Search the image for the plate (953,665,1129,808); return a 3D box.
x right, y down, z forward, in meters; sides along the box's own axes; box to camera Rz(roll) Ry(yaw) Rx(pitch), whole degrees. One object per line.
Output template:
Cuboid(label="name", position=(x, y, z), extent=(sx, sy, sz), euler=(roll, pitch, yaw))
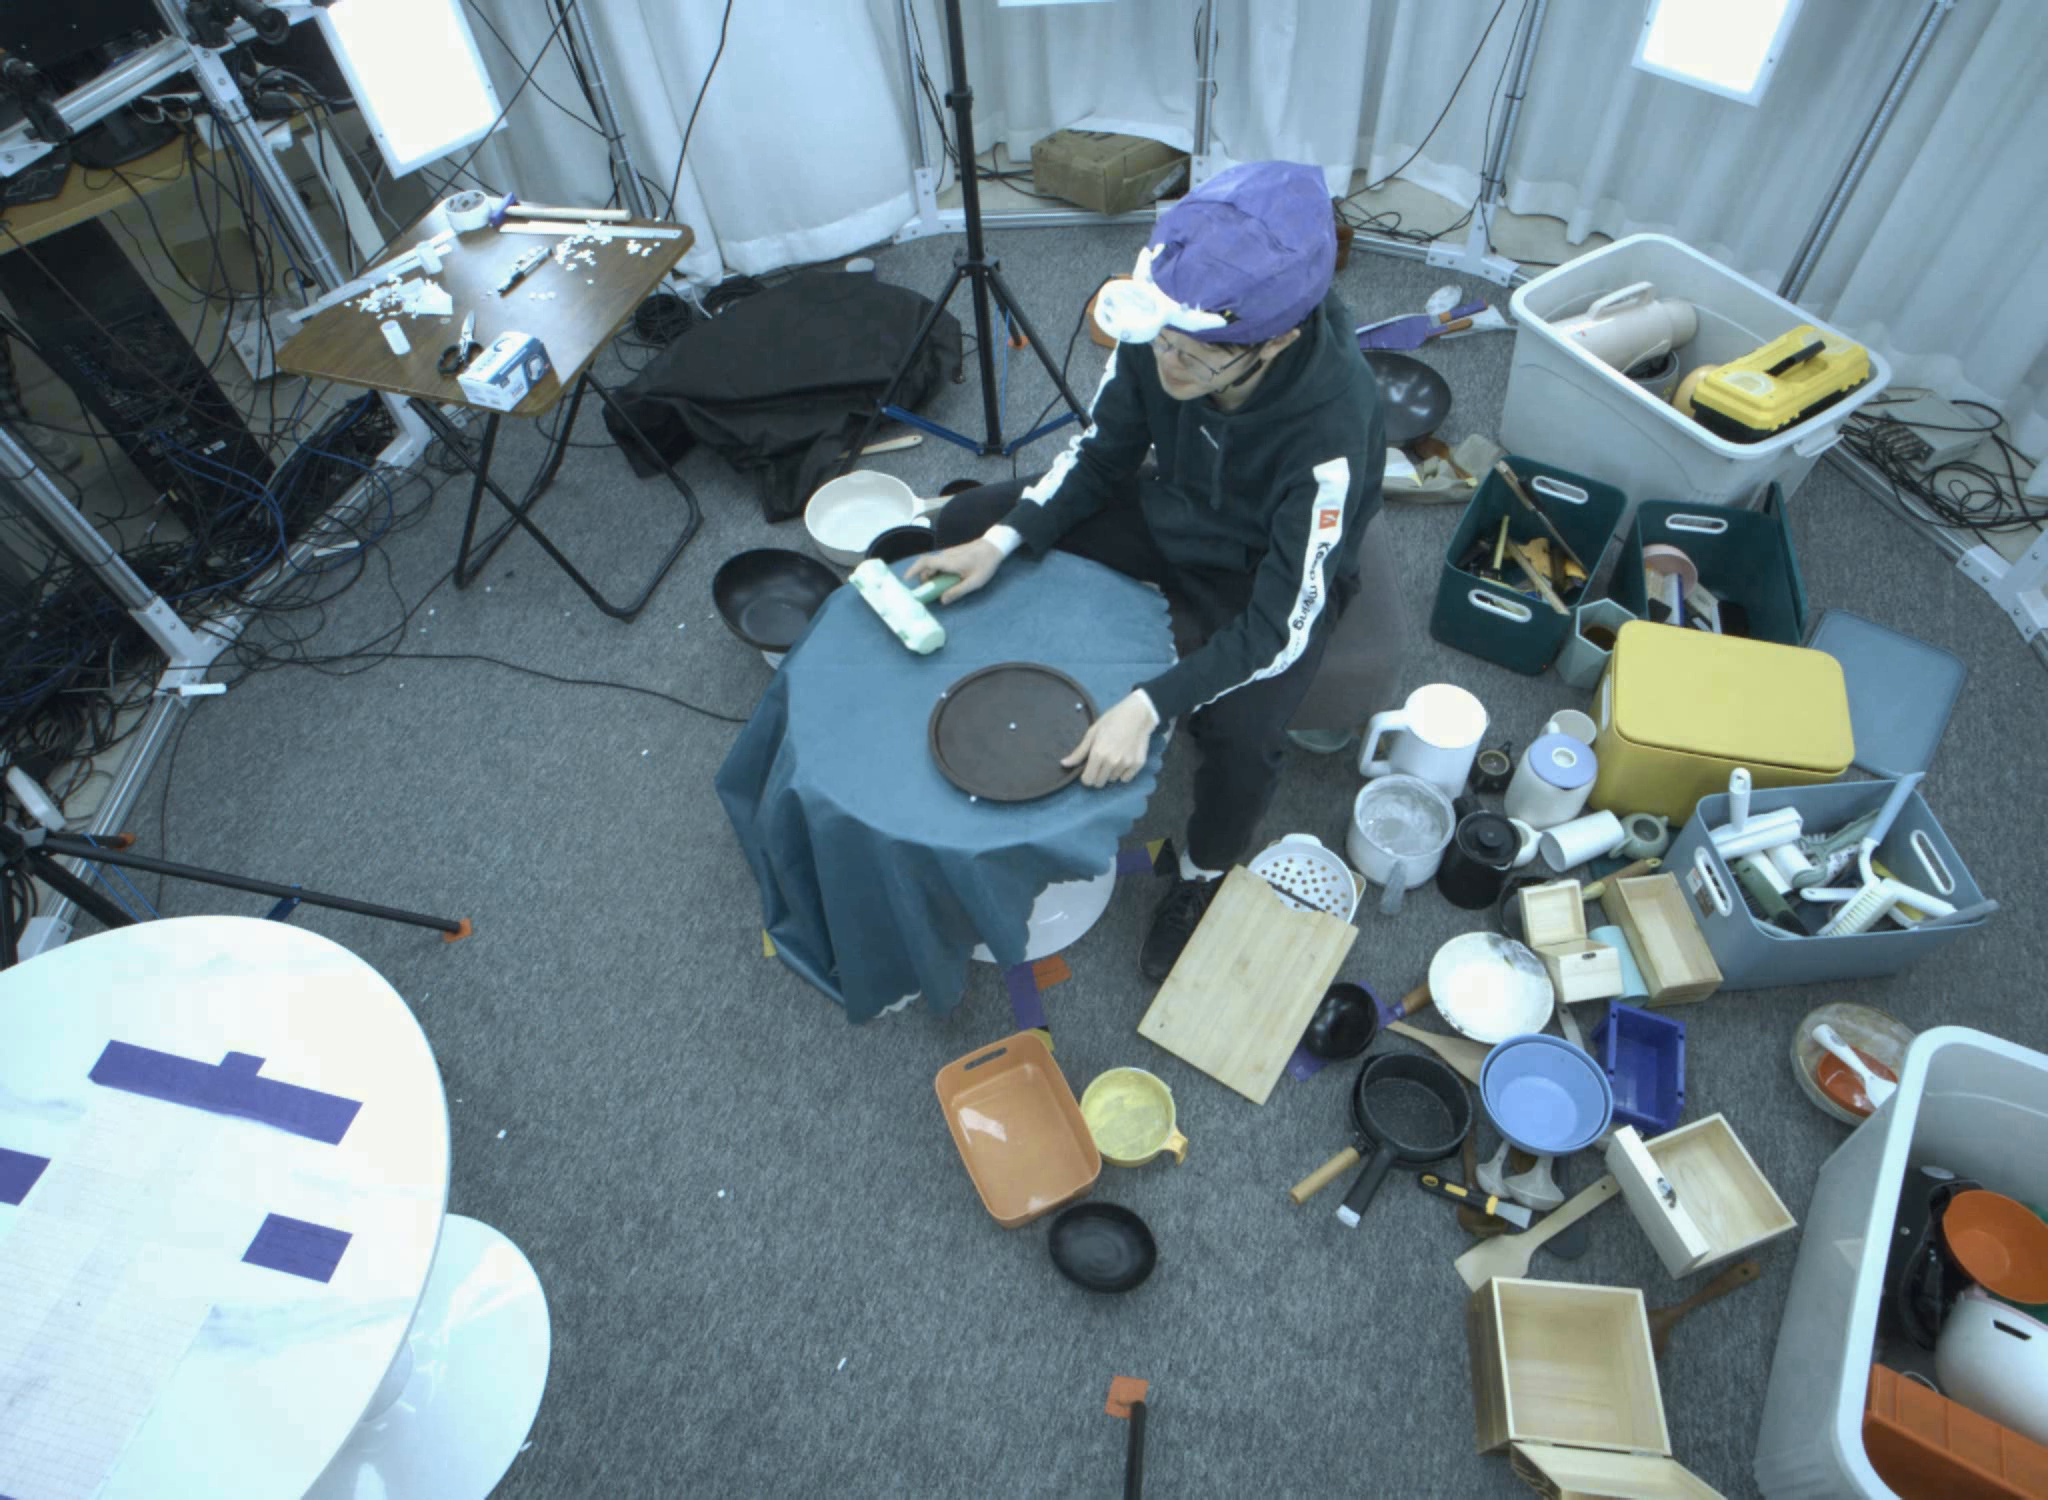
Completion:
Cuboid(label="plate", position=(0.025, -0.021, 1.782), extent=(0.254, 0.029, 0.252), euler=(-1, 54, 3))

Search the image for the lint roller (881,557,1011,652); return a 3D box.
Cuboid(label="lint roller", position=(-0.103, -0.260, 1.920), extent=(0.184, 0.083, 0.195), euler=(-32, 59, -14))
